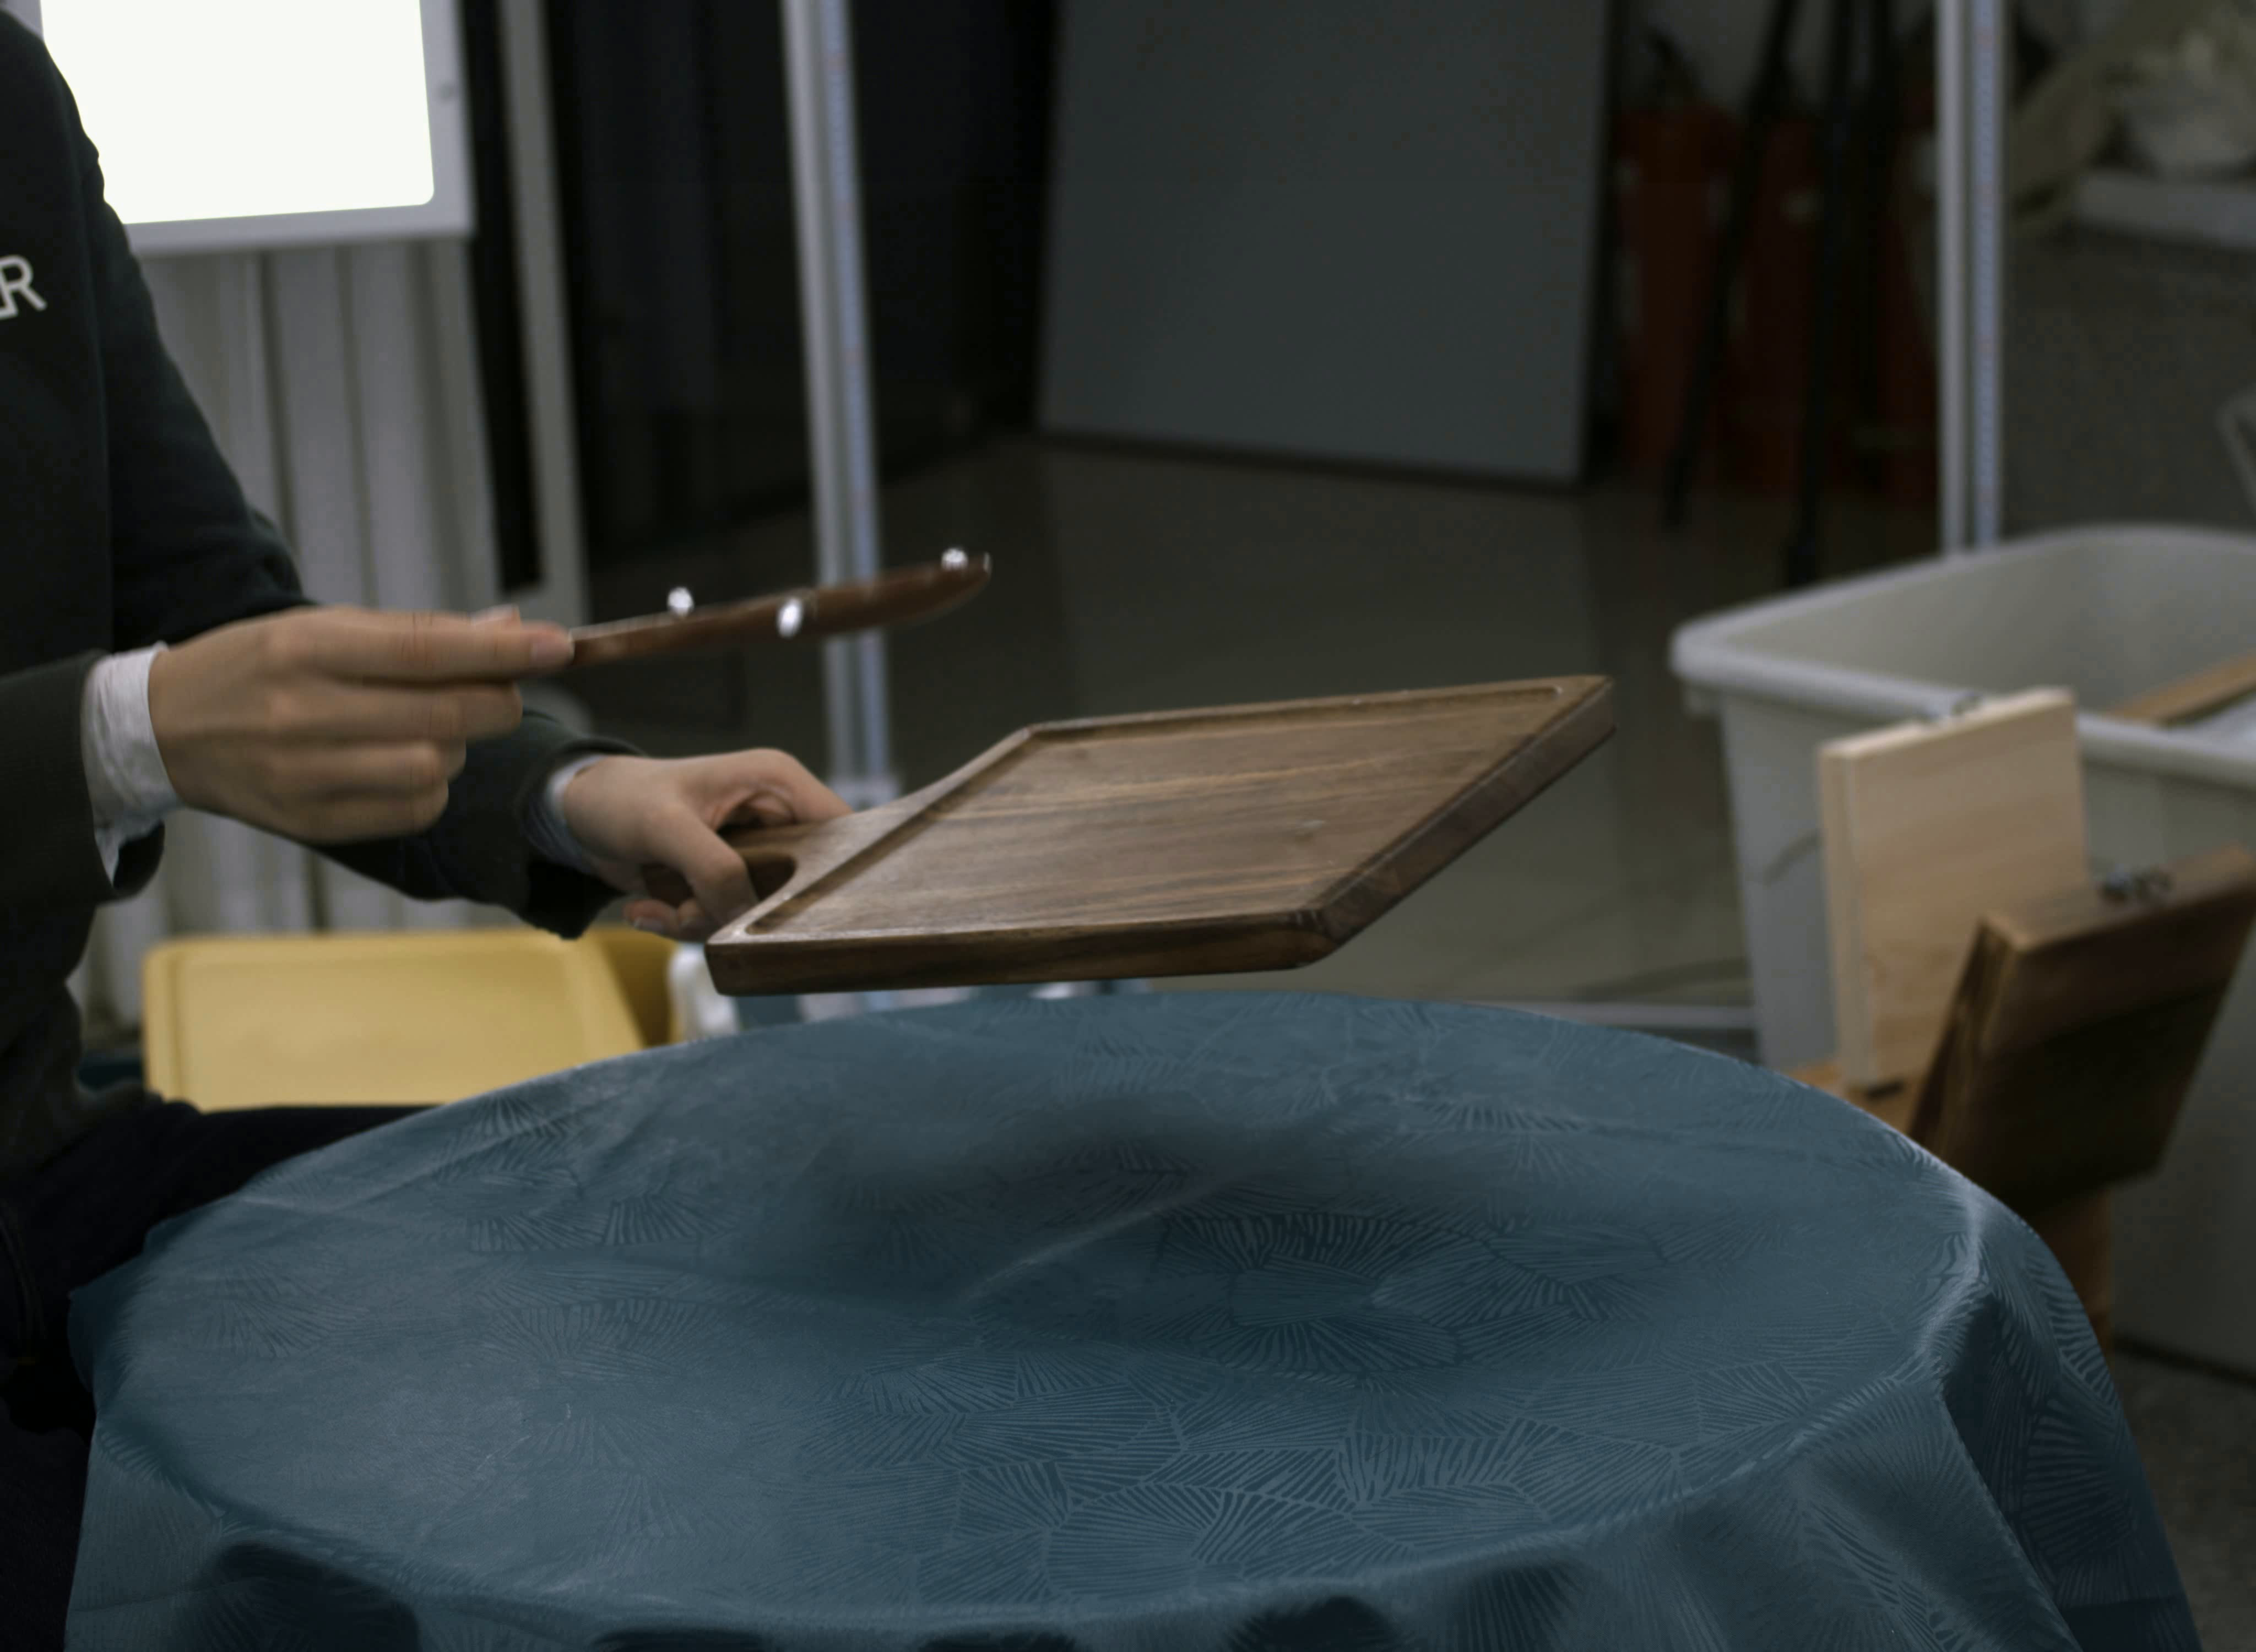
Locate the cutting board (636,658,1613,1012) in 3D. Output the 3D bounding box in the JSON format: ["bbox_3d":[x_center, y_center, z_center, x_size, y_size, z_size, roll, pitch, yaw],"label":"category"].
[{"bbox_3d":[-0.028,0.007,1.777,0.355,0.023,0.198,-6,21,40],"label":"cutting board"}]

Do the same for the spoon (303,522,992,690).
[{"bbox_3d":[-0.143,-0.065,1.619,0.214,0.017,0.075,-10,3,11],"label":"spoon"}]
